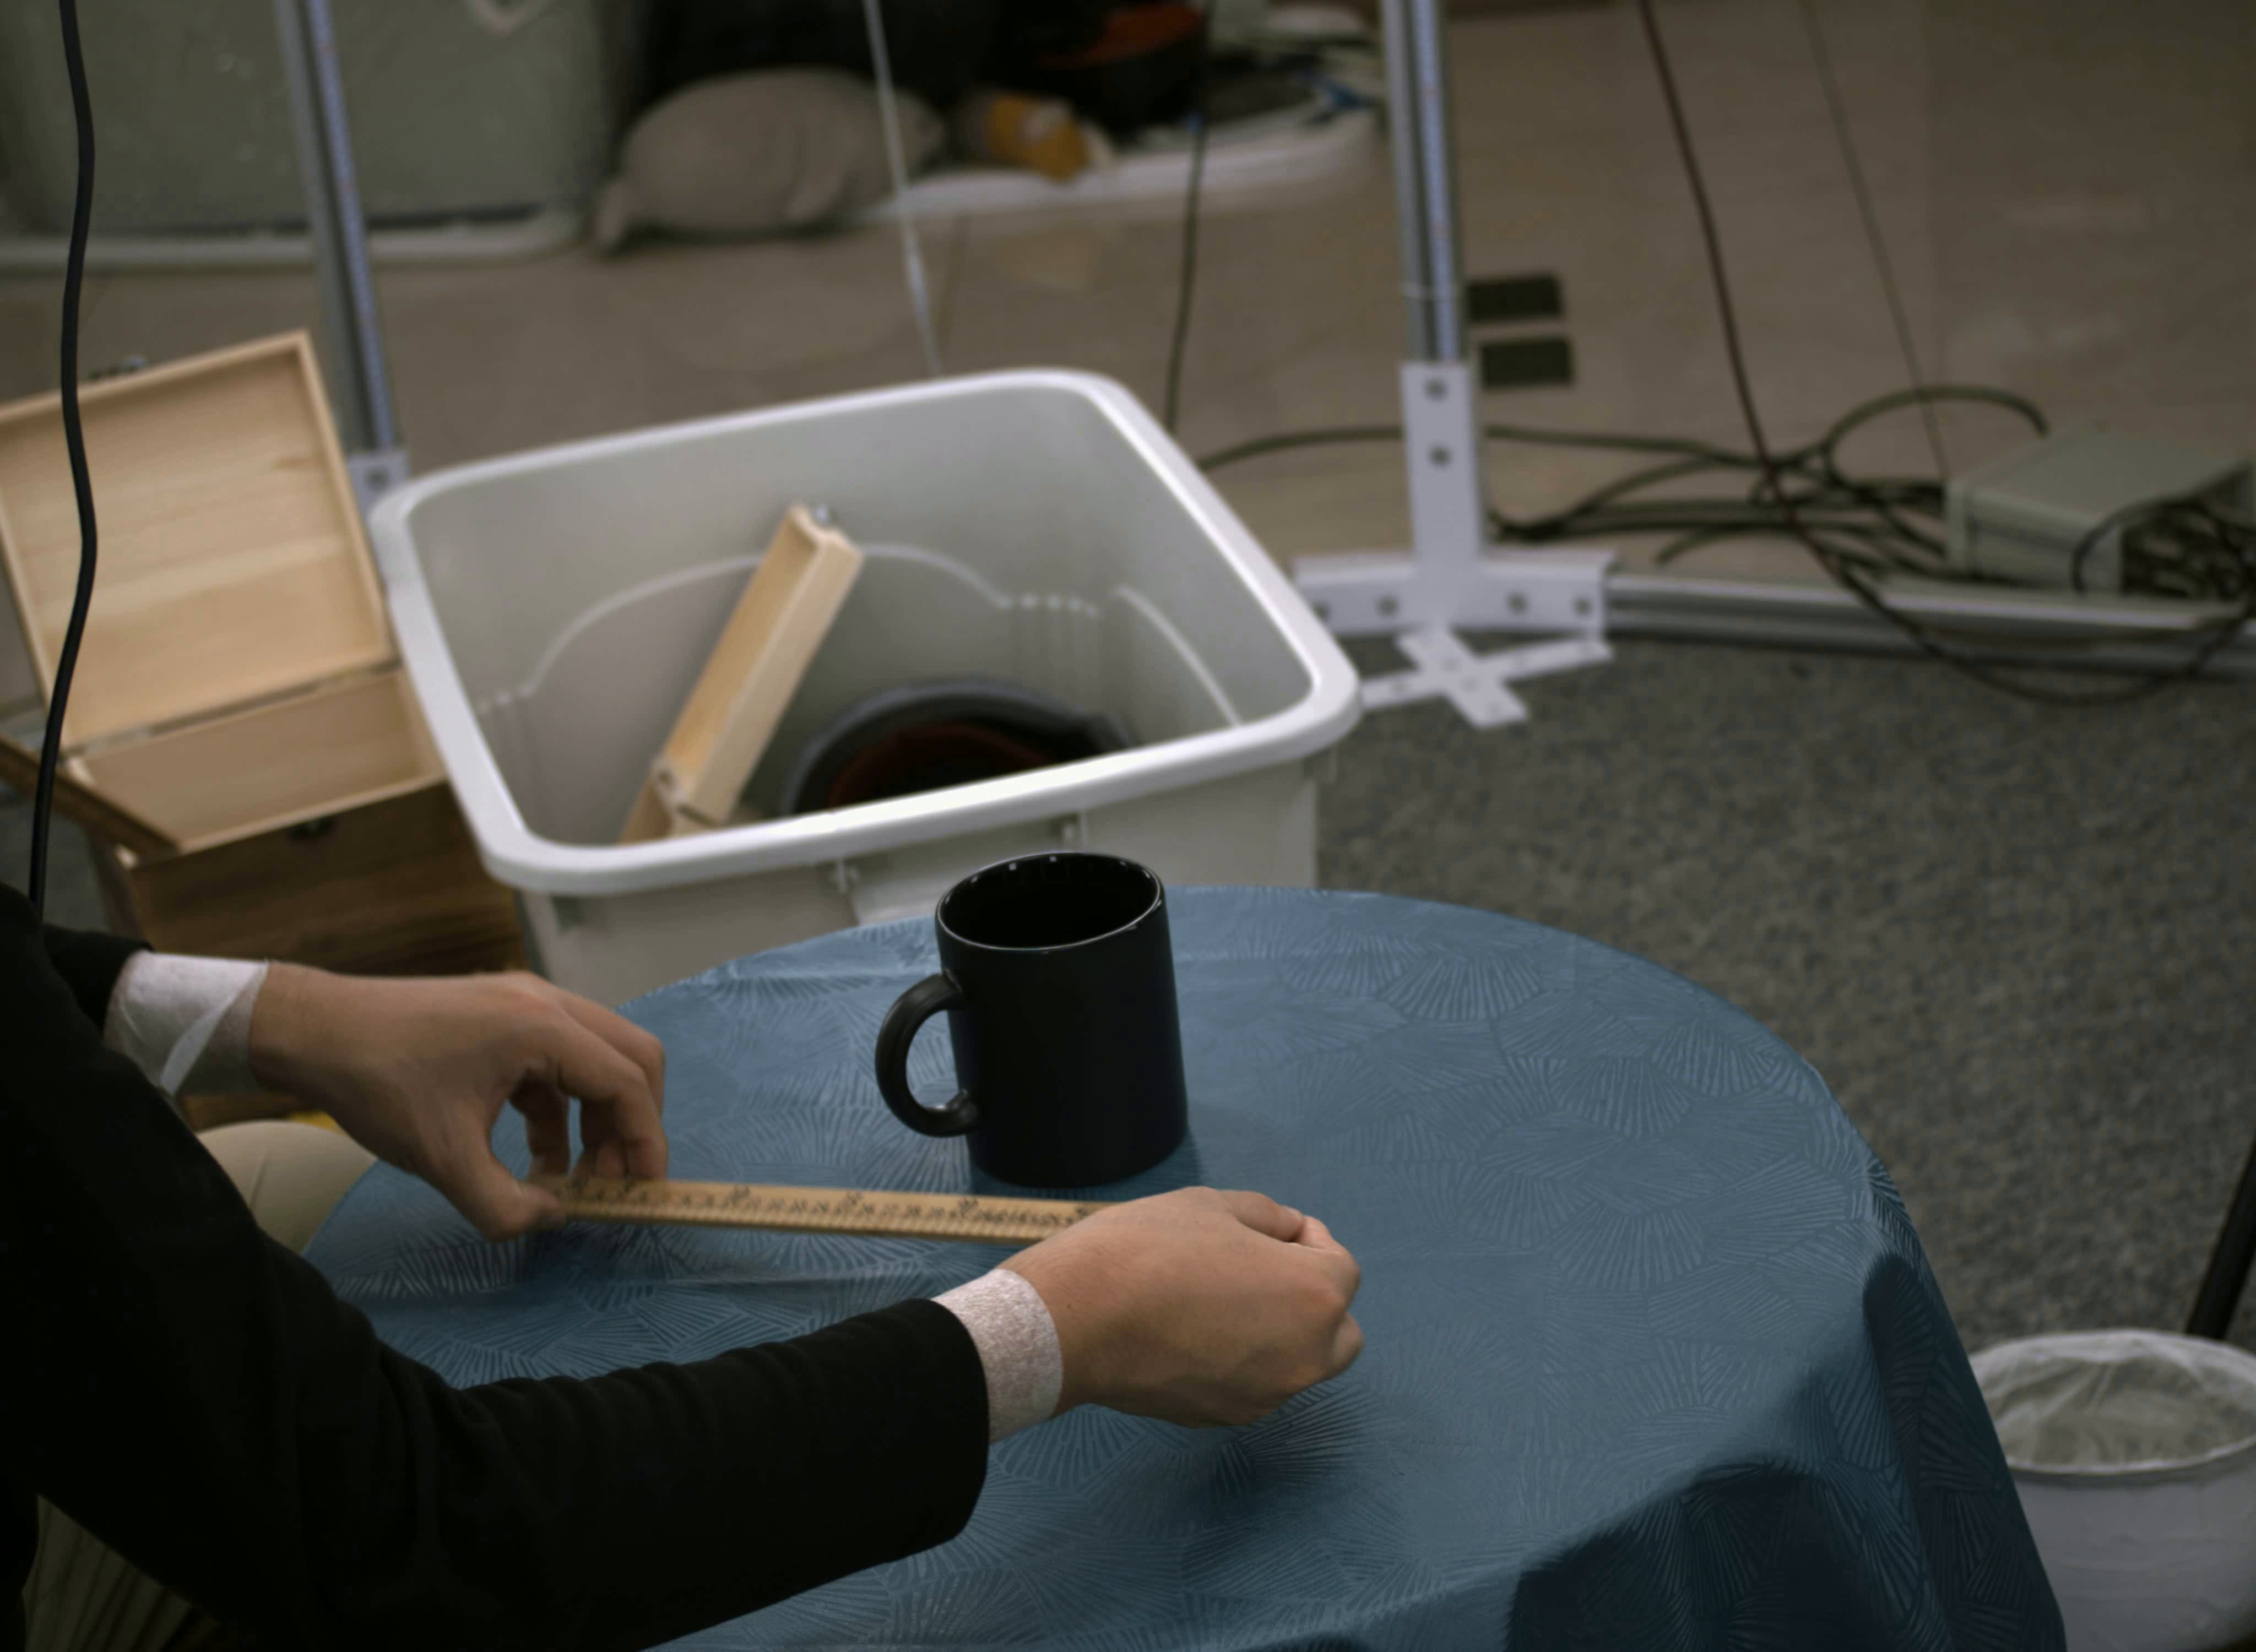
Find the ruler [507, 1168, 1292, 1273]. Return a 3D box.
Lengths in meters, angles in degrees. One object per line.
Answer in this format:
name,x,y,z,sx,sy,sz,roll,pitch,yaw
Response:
ruler,-0.090,0.143,2.080,0.331,0.022,0.027,2,25,31

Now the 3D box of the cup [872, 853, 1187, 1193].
cup,-0.040,0.080,2.163,0.123,0.107,0.087,-18,29,-21
